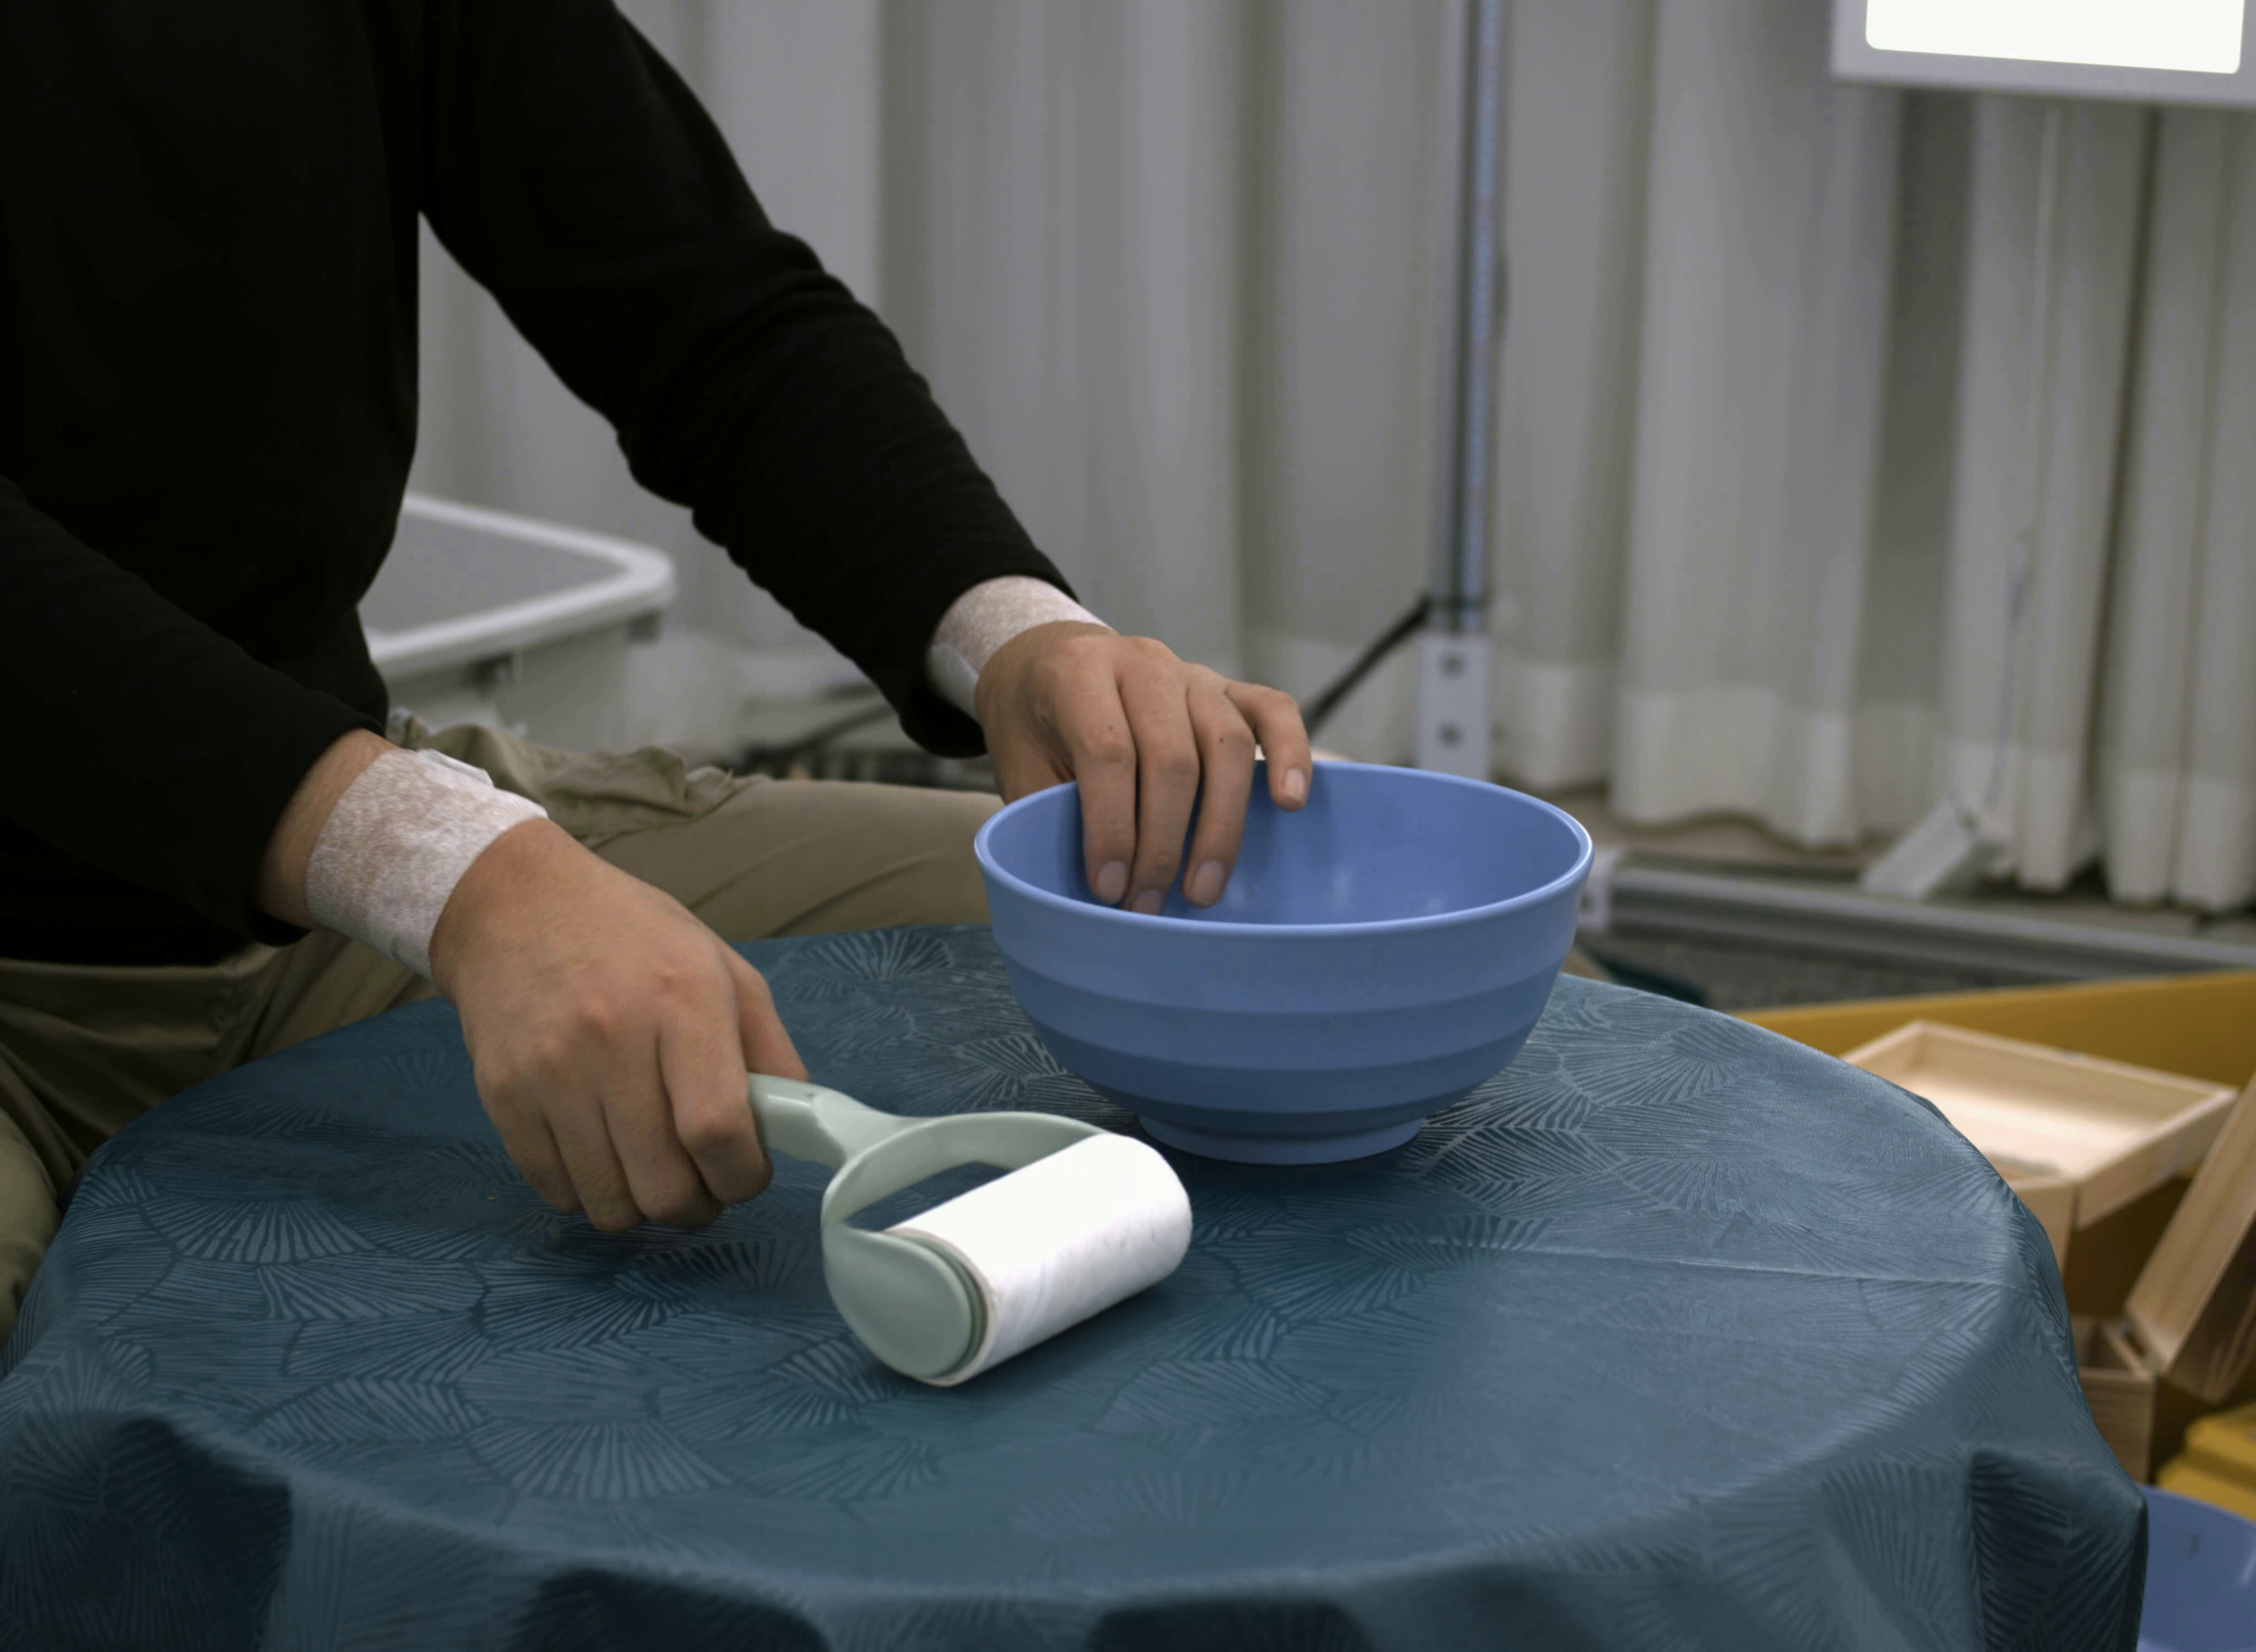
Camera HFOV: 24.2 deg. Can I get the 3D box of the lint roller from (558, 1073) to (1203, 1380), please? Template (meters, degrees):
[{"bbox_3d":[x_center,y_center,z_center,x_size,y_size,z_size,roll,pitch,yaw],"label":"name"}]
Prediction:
[{"bbox_3d":[-0.084,0.100,1.537,0.195,0.049,0.117,20,24,29],"label":"lint roller"}]

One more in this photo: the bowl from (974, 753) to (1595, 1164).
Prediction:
[{"bbox_3d":[0.050,0.048,1.674,0.196,0.096,0.195,0,17,1],"label":"bowl"}]
